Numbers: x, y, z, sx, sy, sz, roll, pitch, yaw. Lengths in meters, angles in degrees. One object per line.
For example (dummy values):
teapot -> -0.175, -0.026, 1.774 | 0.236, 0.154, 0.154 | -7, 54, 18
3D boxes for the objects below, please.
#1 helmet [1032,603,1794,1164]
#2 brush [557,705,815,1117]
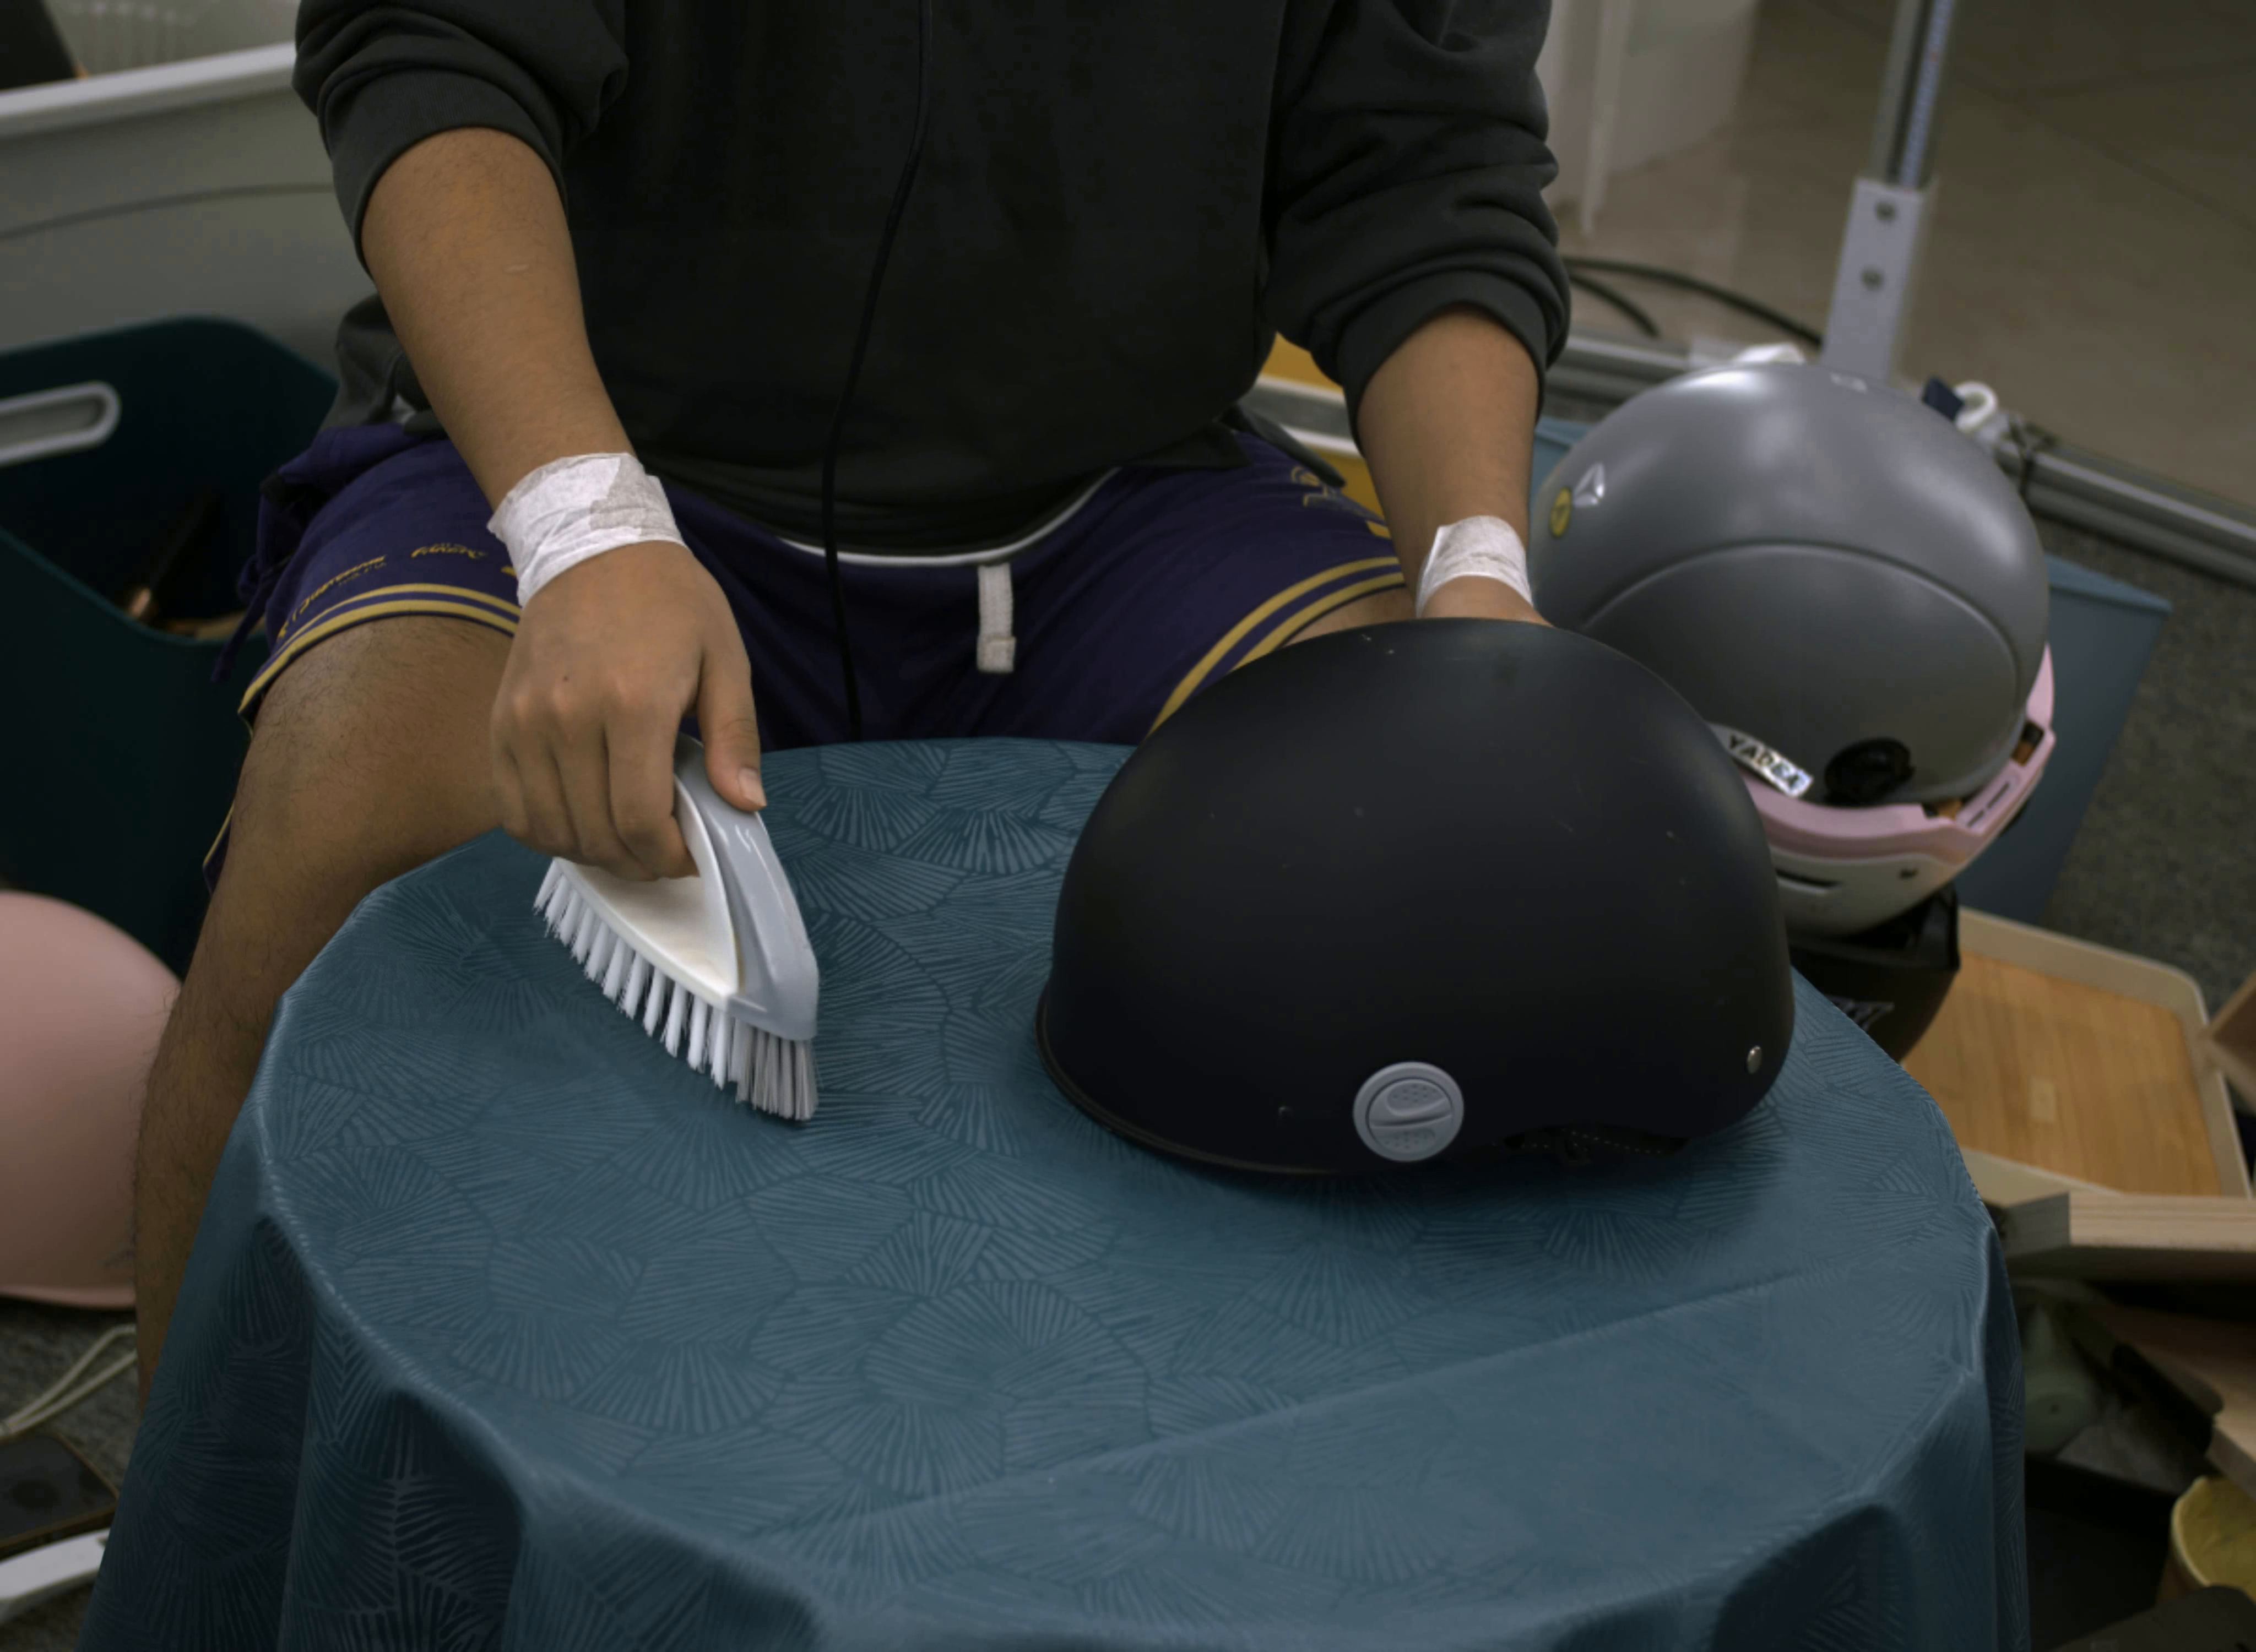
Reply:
helmet -> 0.105, 0.010, 1.874 | 0.271, 0.166, 0.232 | -3, 27, -13
brush -> -0.145, 0.022, 1.865 | 0.061, 0.094, 0.177 | -7, 33, -26
